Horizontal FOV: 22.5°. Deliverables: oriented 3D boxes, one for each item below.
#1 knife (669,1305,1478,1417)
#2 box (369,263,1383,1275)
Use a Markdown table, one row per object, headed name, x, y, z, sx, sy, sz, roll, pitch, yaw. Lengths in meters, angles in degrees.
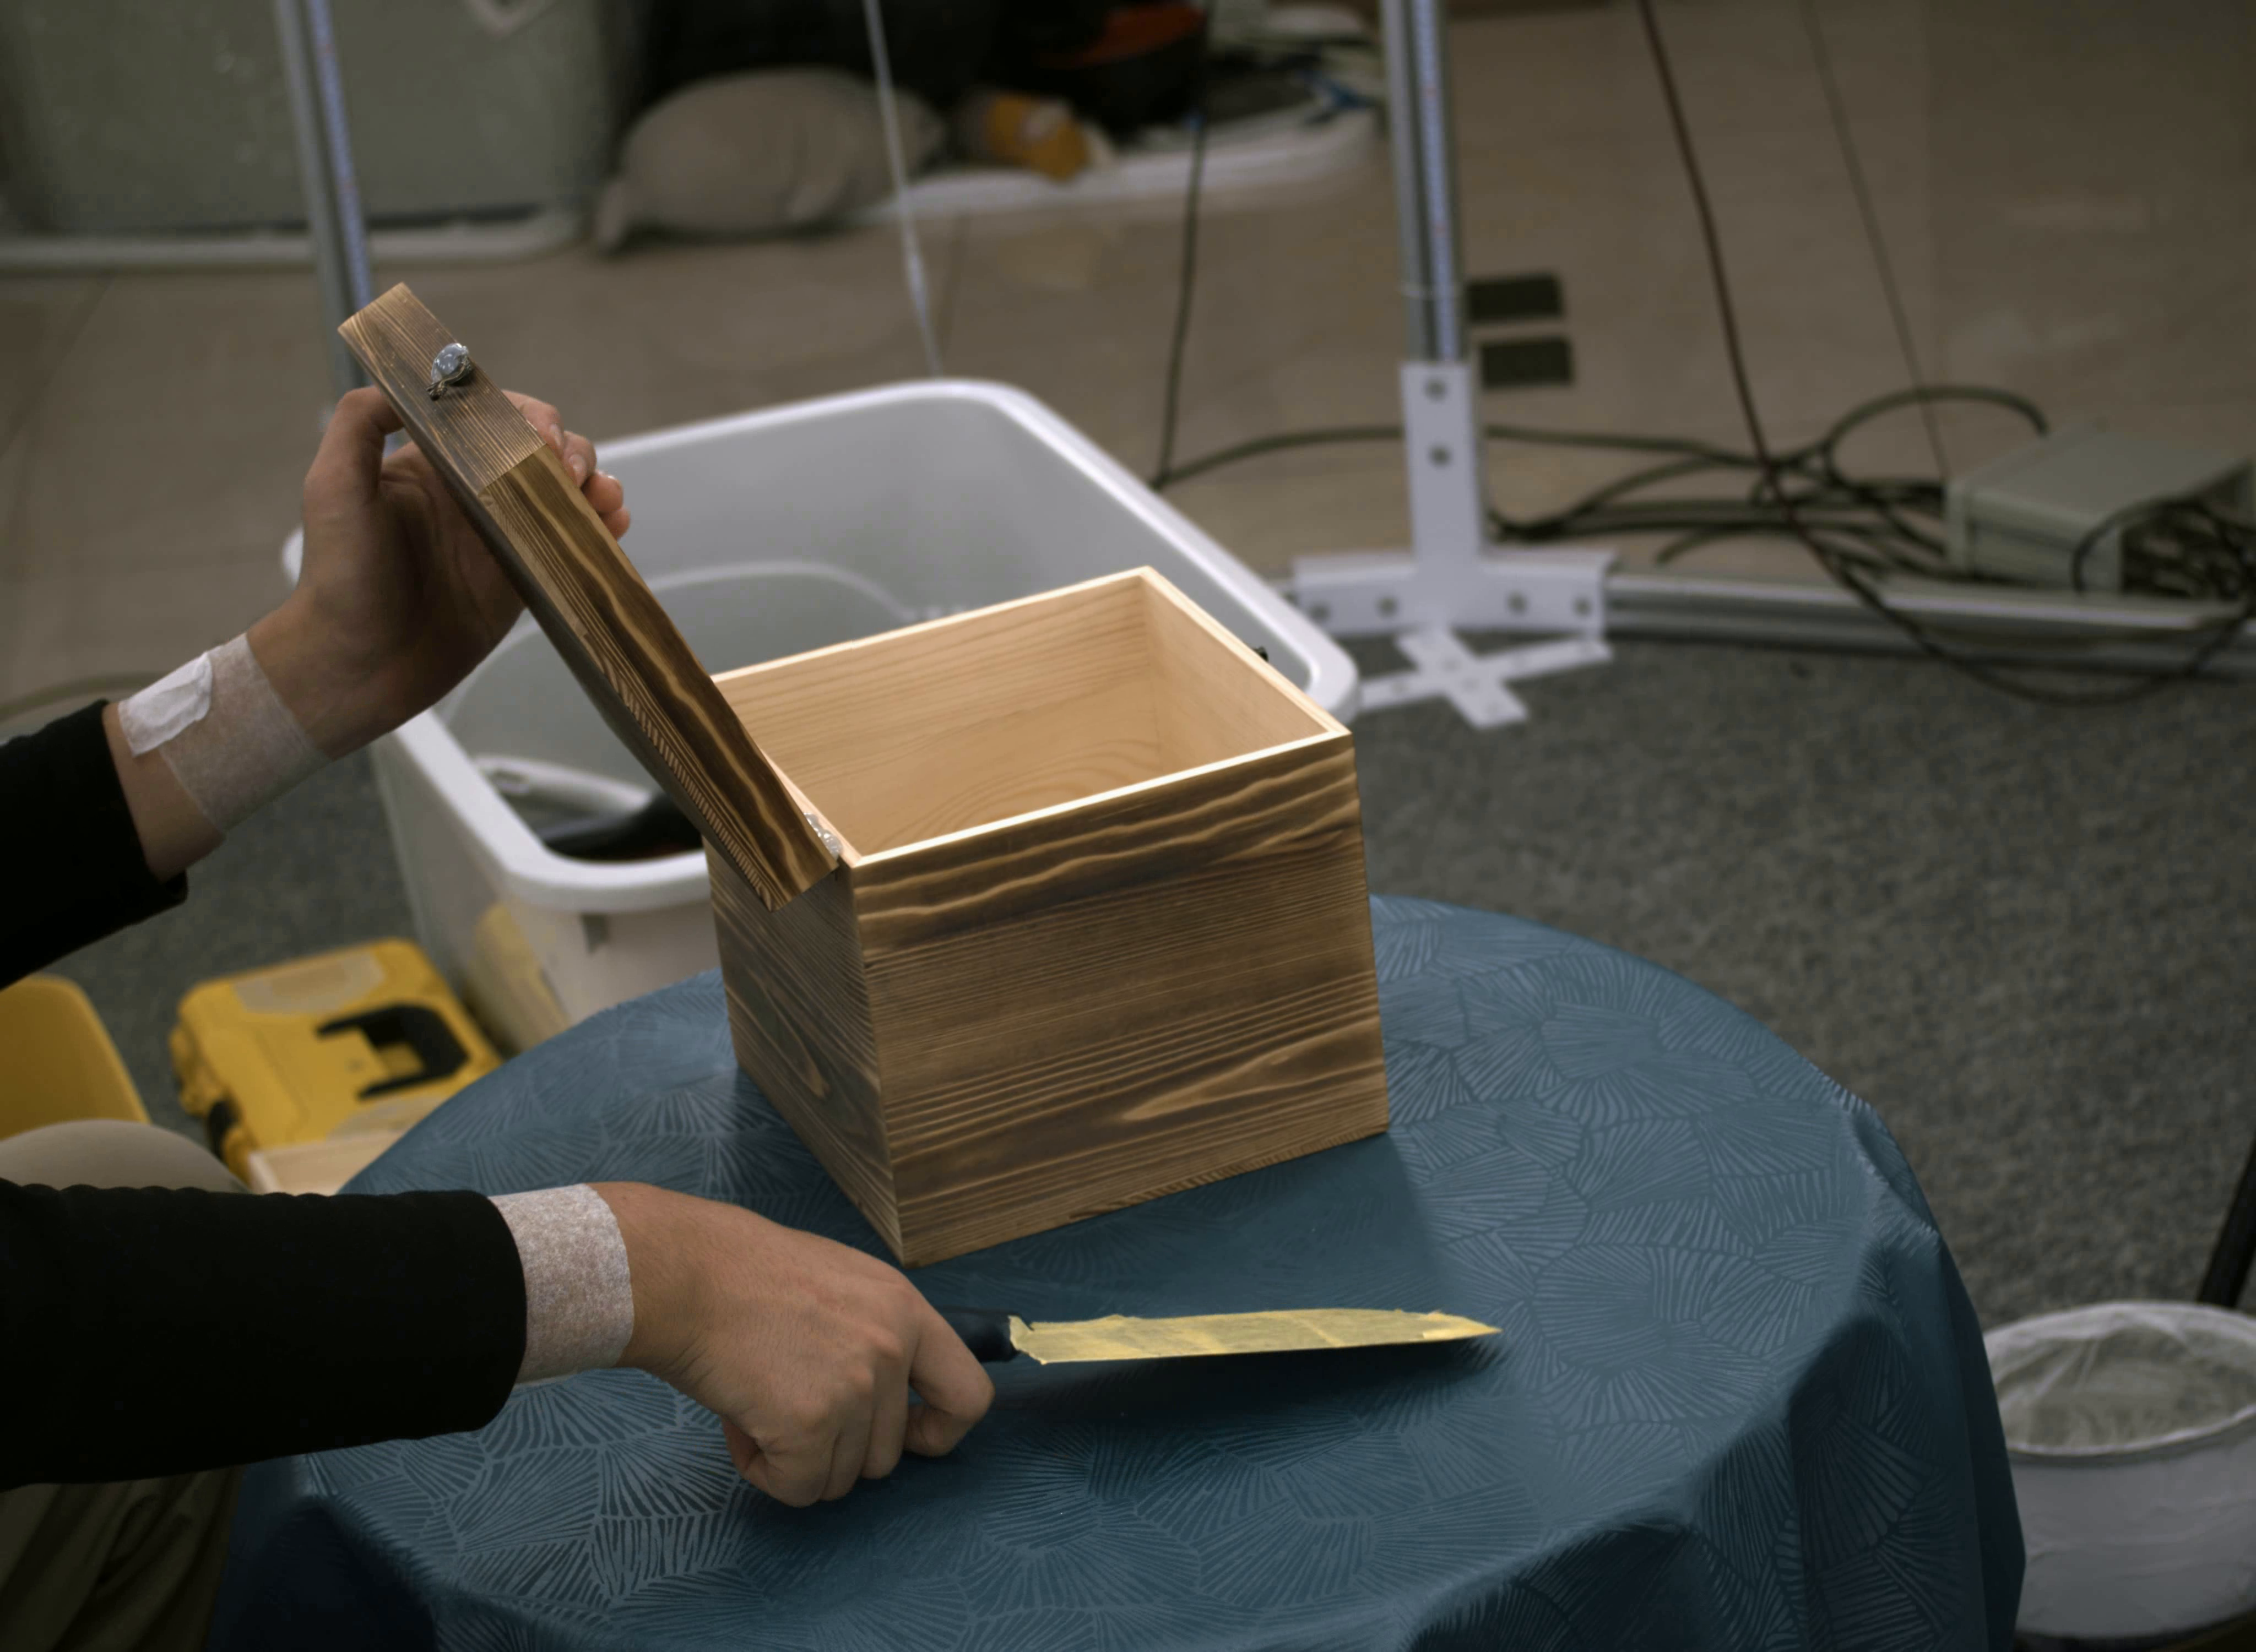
| name | x | y | z | sx | sy | sz | roll | pitch | yaw |
| --- | --- | --- | --- | --- | --- | --- | --- | --- | --- |
| knife | -0.016 | 0.184 | 1.994 | 0.289 | 0.027 | 0.081 | -5 | 3 | -12 |
| box | -0.093 | -0.042 | 2.127 | 0.321 | 0.382 | 0.206 | -16 | 28 | -17 |
